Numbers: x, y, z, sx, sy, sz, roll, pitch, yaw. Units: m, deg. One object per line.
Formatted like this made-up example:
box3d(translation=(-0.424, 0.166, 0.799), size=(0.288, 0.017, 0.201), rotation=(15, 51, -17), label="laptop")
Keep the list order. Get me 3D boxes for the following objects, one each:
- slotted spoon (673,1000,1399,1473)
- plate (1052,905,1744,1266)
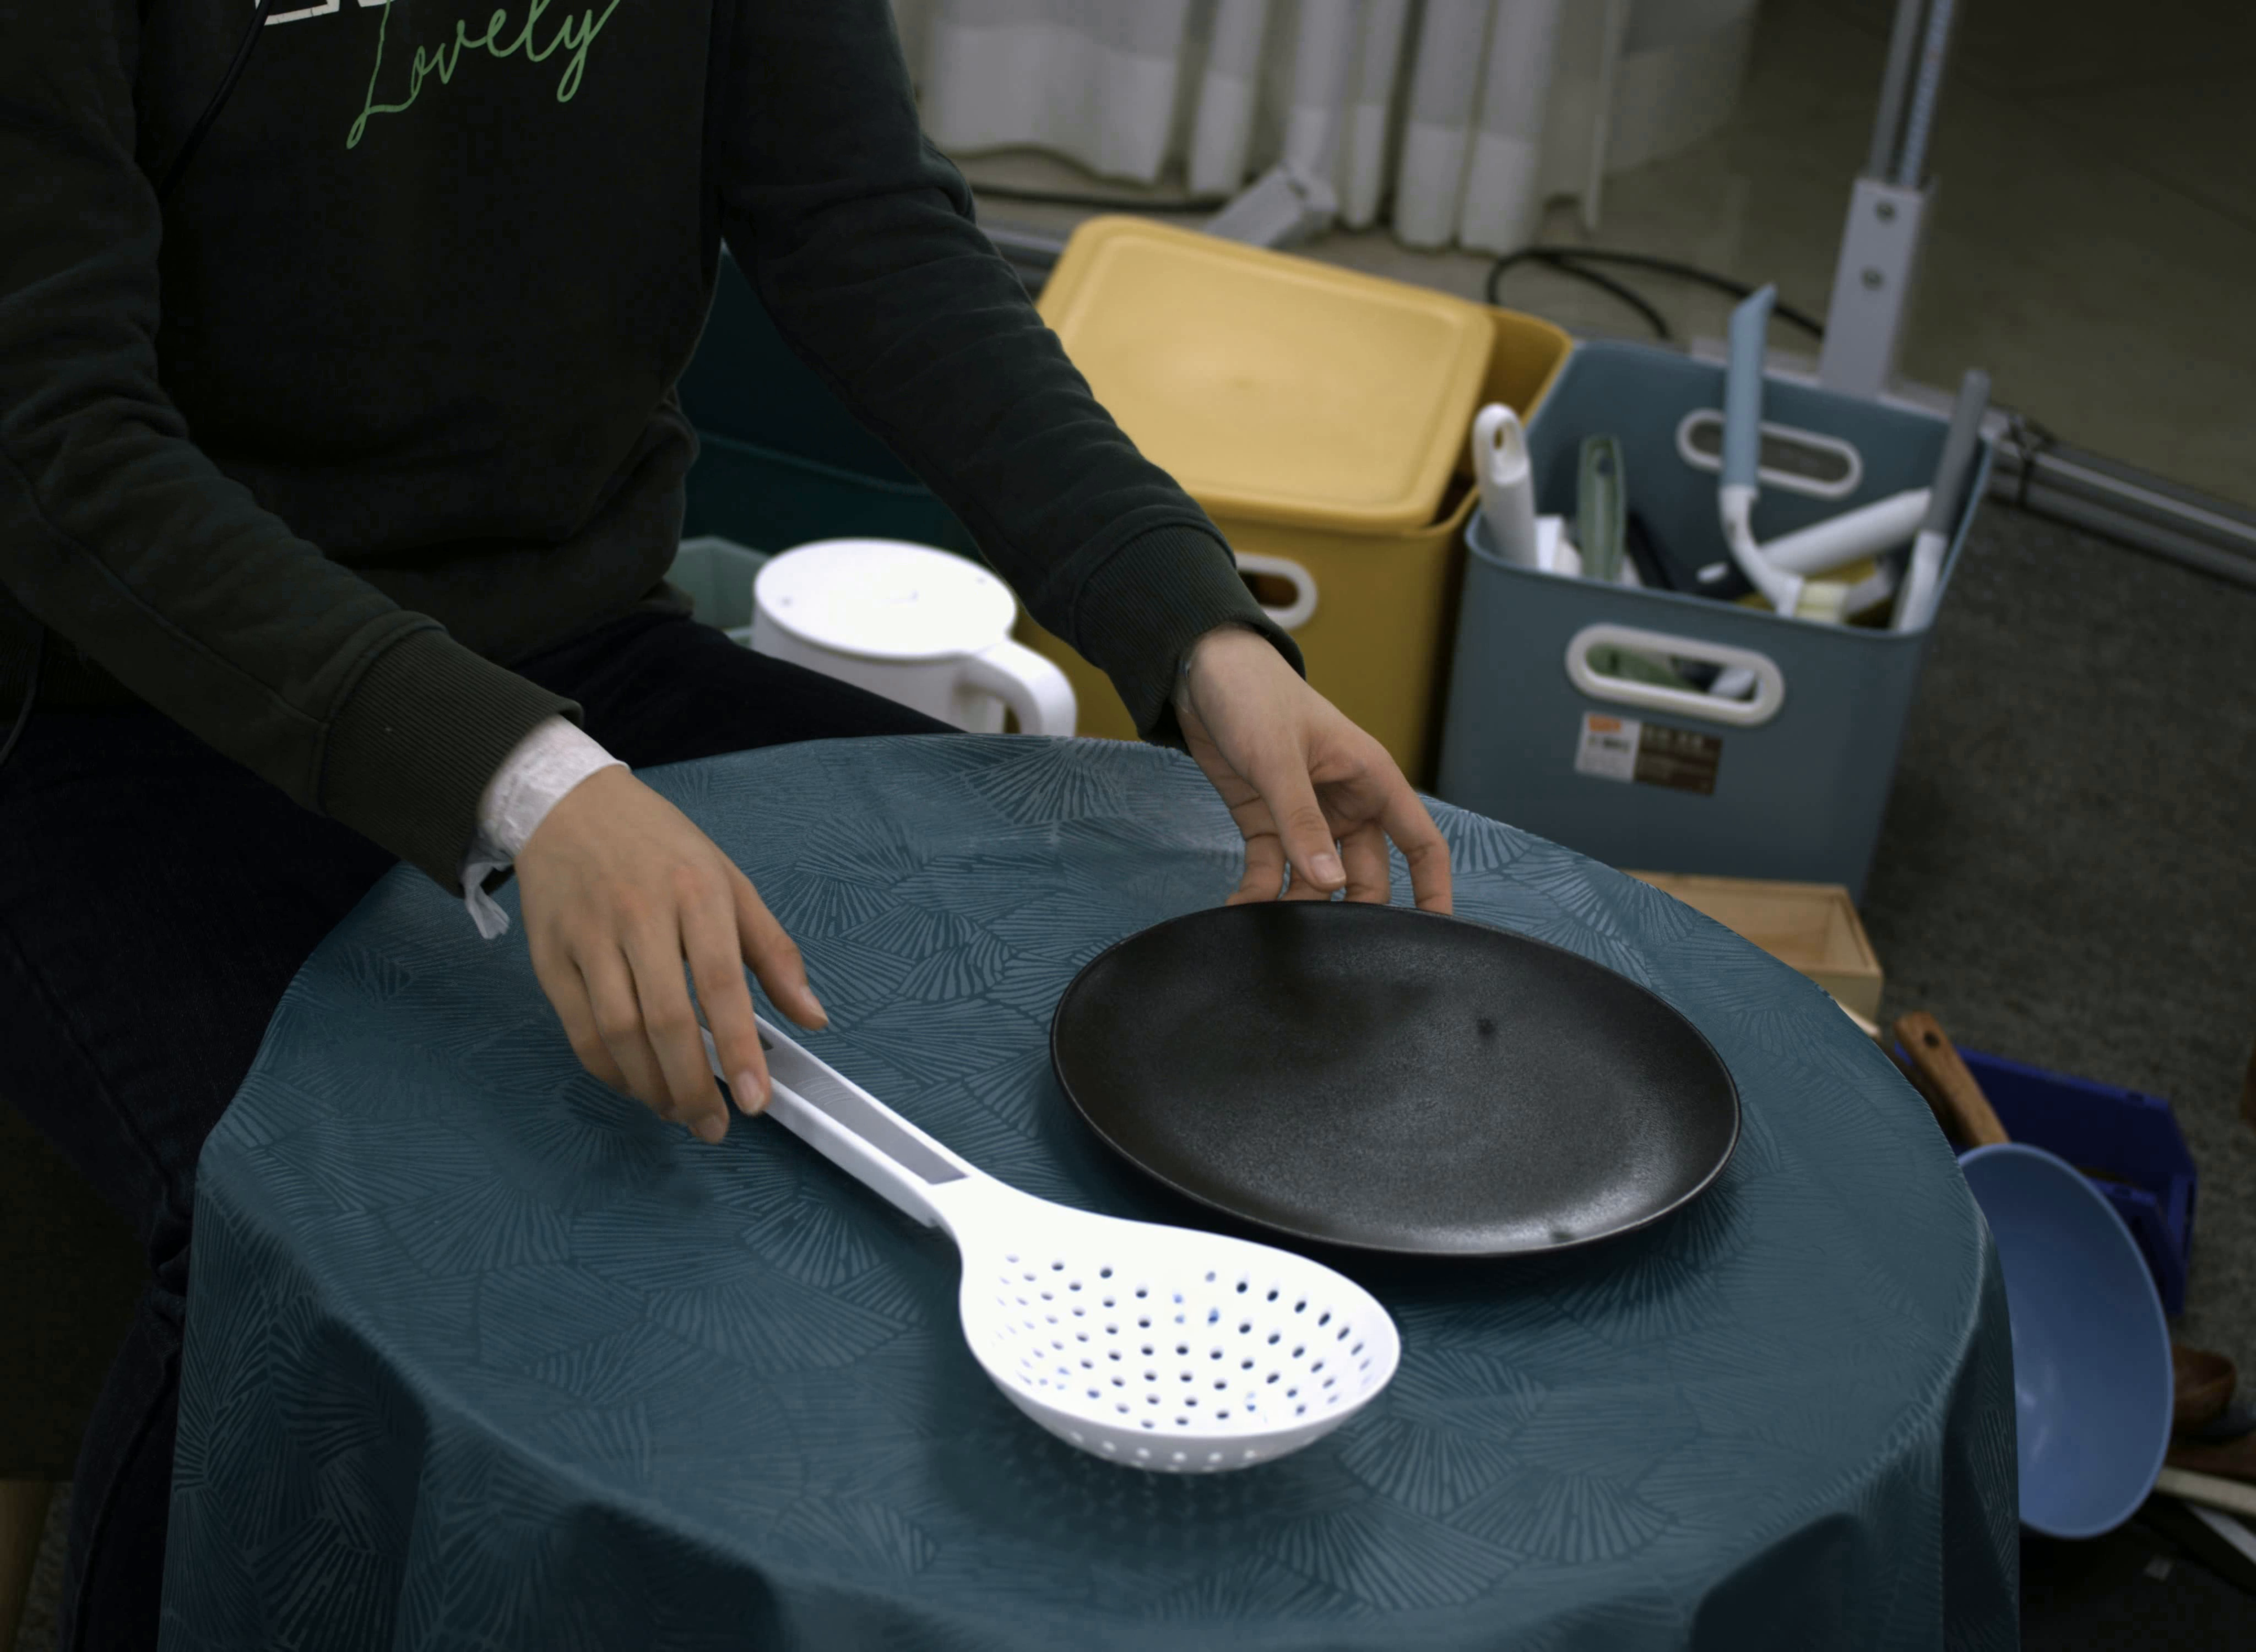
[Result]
box3d(translation=(-0.048, 0.127, 1.732), size=(0.135, 0.045, 0.353), rotation=(-11, 31, -35), label="slotted spoon")
box3d(translation=(0.093, 0.094, 1.855), size=(0.243, 0.023, 0.246), rotation=(5, 27, -3), label="plate")
